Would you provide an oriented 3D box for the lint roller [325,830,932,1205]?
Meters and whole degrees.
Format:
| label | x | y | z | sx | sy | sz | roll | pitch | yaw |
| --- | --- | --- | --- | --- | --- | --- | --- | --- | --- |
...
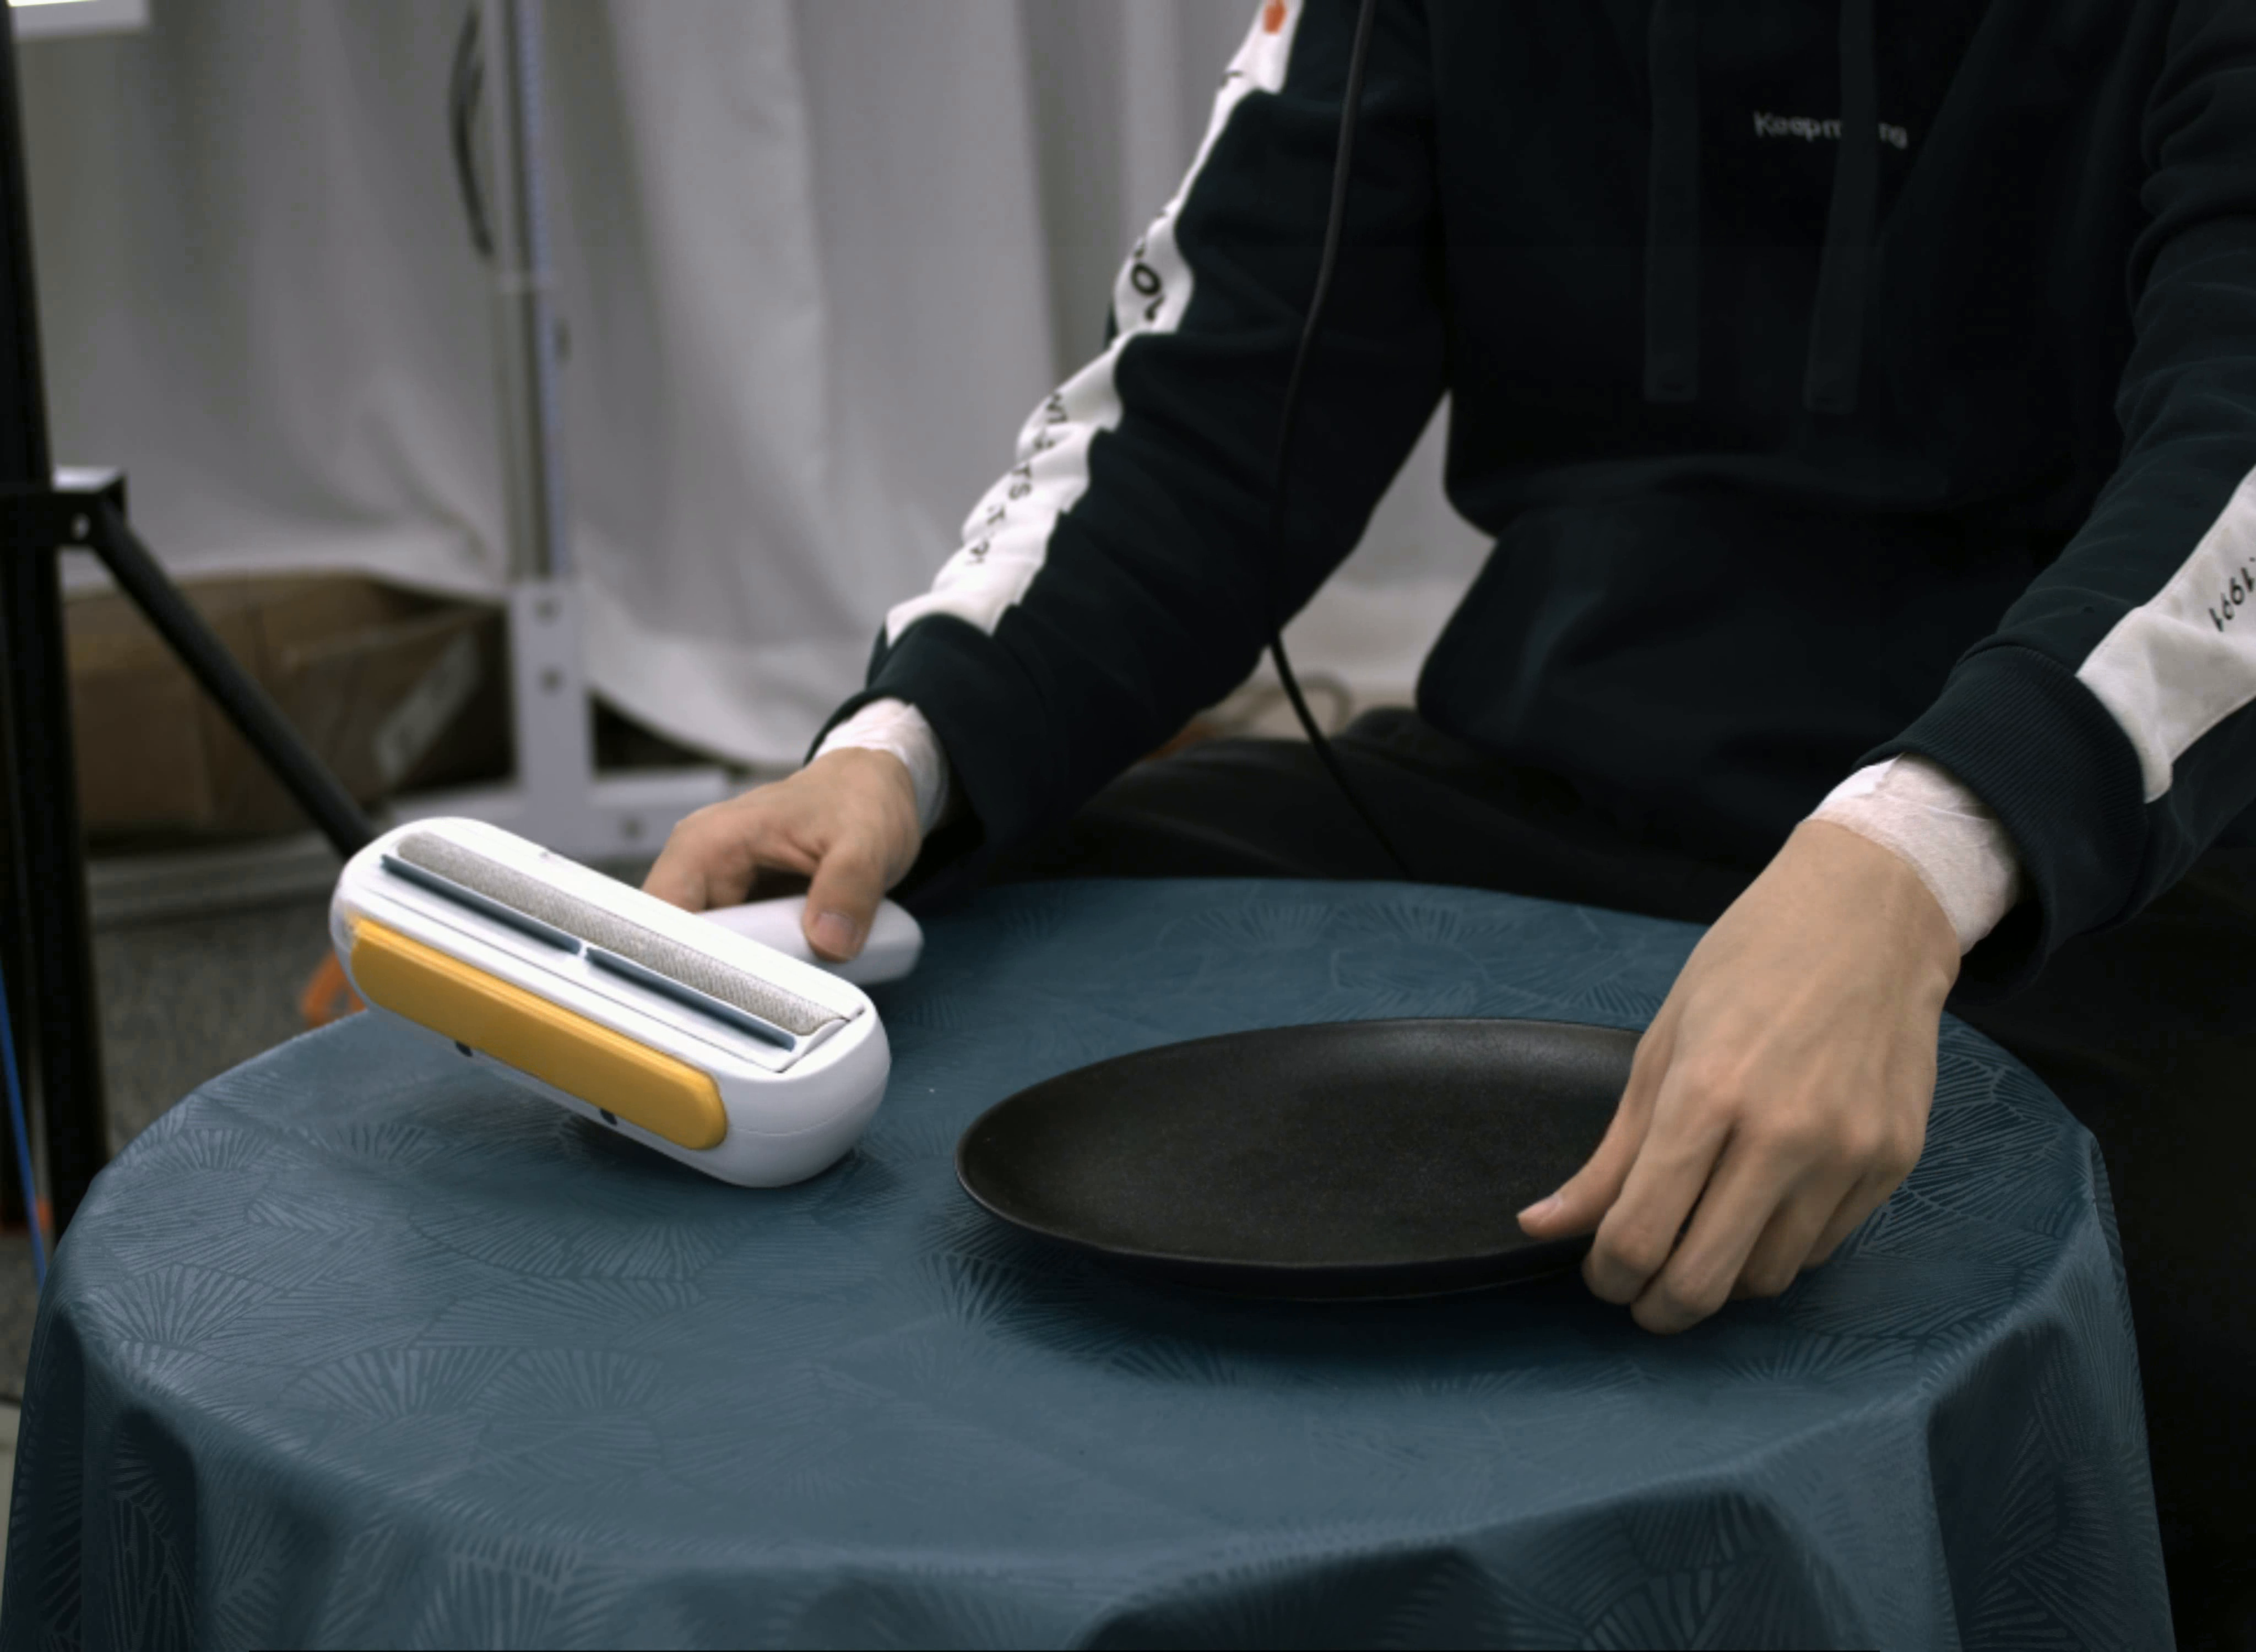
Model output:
| label | x | y | z | sx | sy | sz | roll | pitch | yaw |
| --- | --- | --- | --- | --- | --- | --- | --- | --- | --- |
| lint roller | -0.130 | 0.061 | 1.674 | 0.197 | 0.074 | 0.187 | 23 | 17 | 37 |

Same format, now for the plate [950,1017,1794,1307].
| label | x | y | z | sx | sy | sz | roll | pitch | yaw |
| --- | --- | --- | --- | --- | --- | --- | --- | --- | --- |
| plate | 0.070 | 0.099 | 1.523 | 0.243 | 0.023 | 0.245 | -4 | 14 | 0 |
